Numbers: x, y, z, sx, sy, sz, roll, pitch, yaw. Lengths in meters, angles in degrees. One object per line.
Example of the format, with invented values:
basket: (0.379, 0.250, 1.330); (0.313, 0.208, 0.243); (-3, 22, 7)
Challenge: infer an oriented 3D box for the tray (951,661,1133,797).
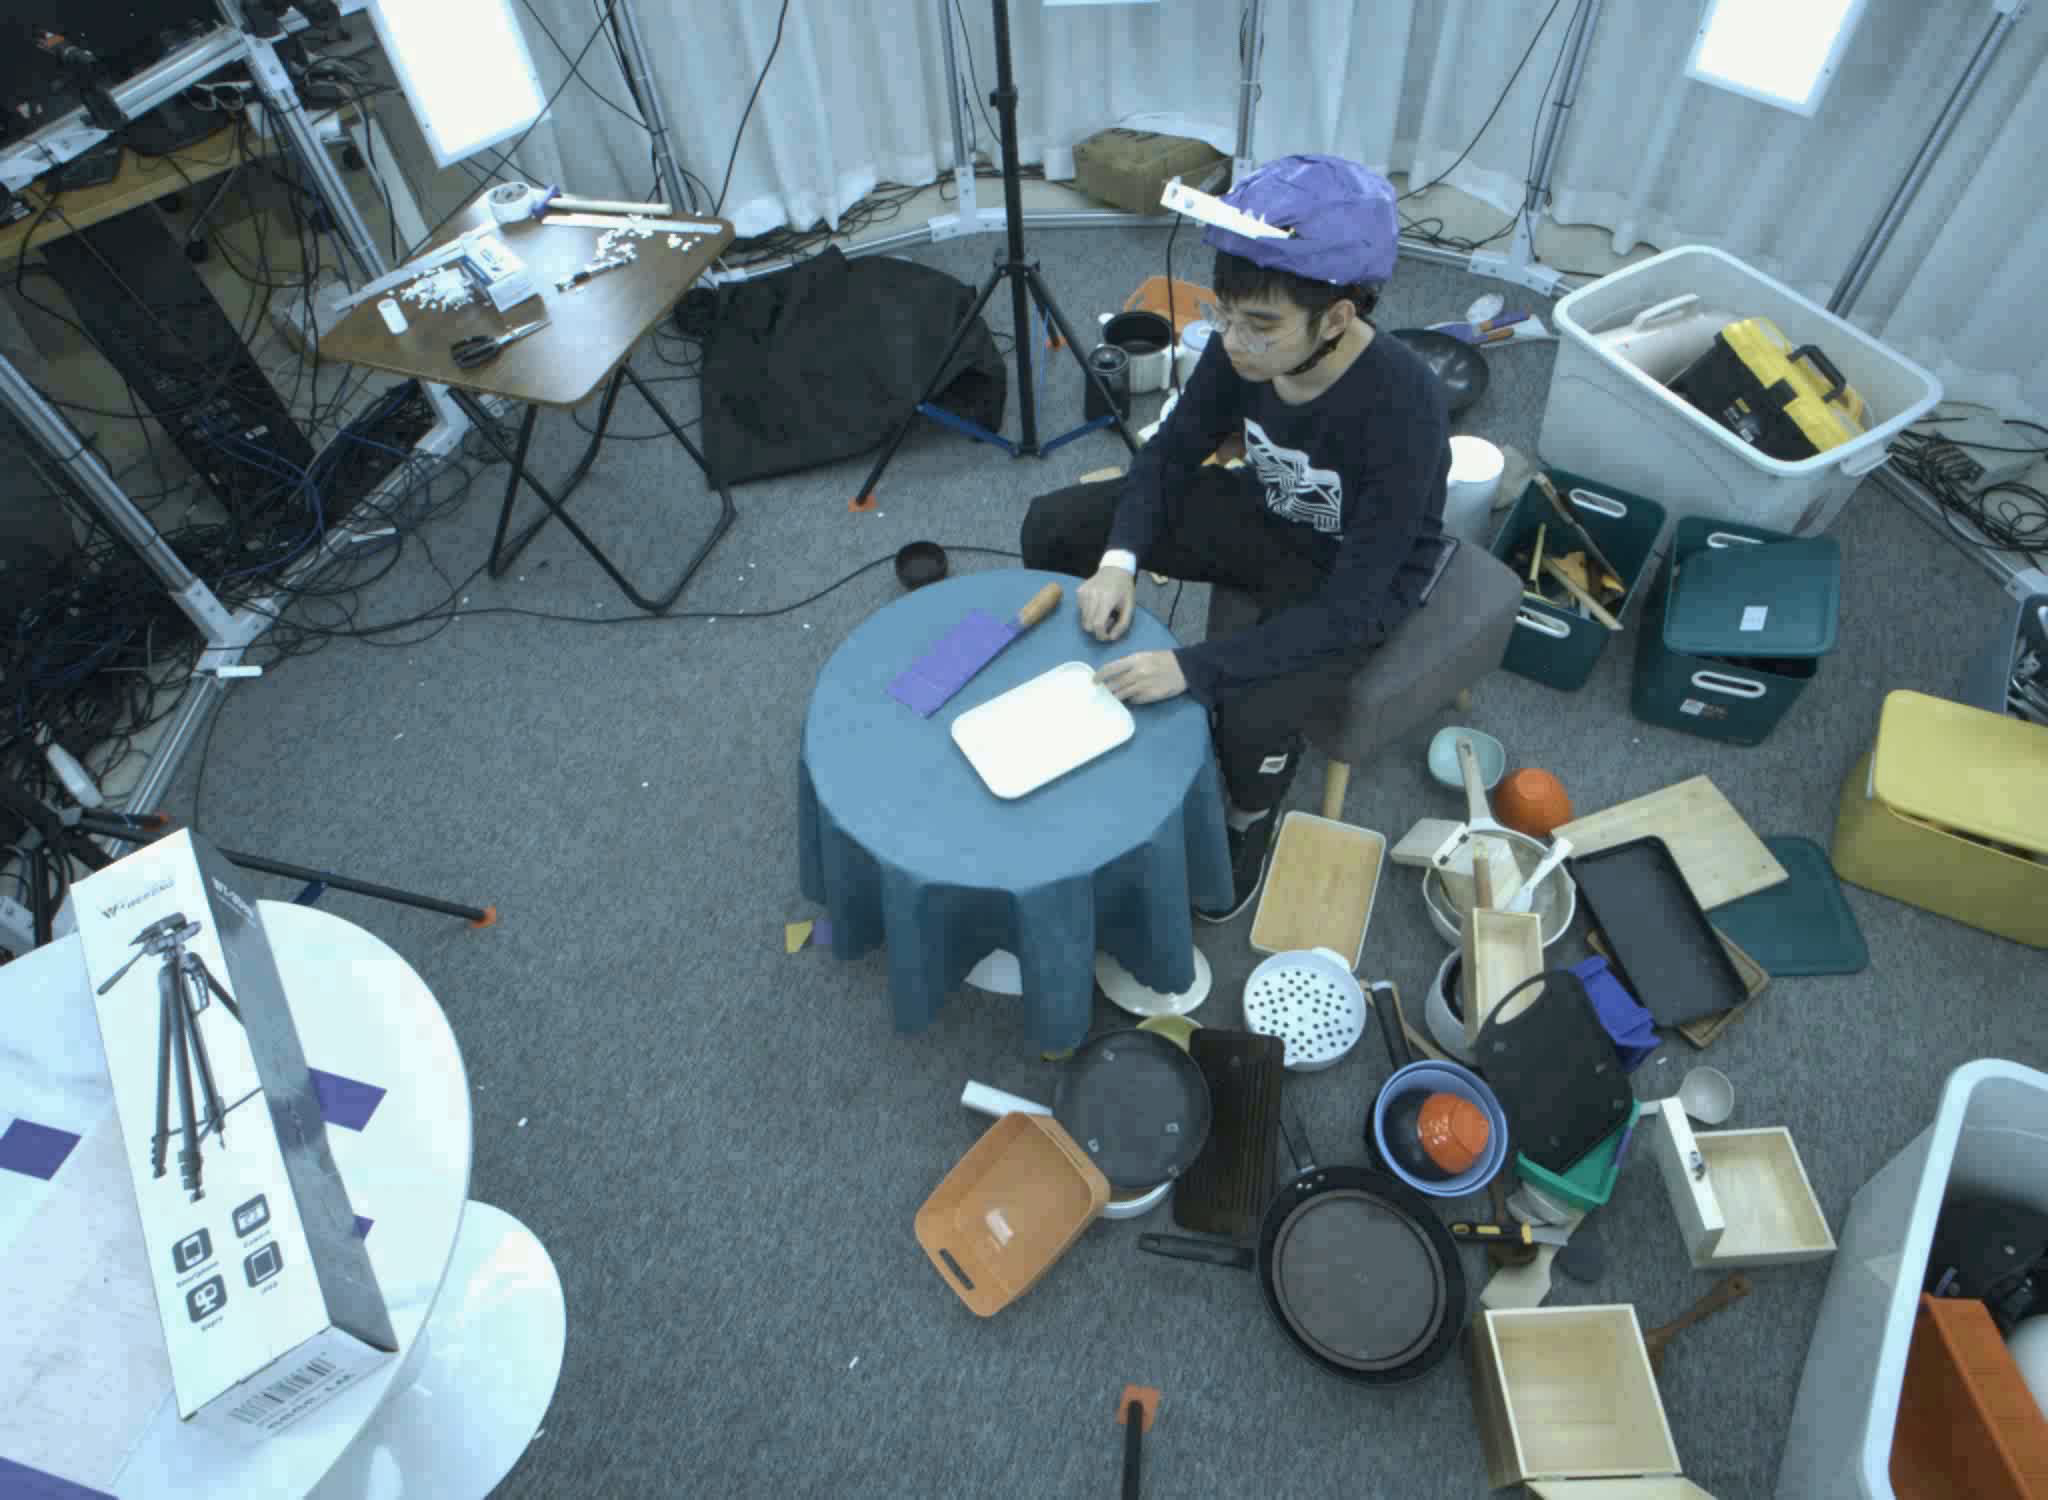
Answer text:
tray: (0.027, -0.032, 1.806); (0.241, 0.017, 0.168); (-27, 57, -17)

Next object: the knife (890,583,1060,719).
knife: (-0.077, -0.172, 1.903); (0.102, 0.032, 0.317); (34, 62, 23)
